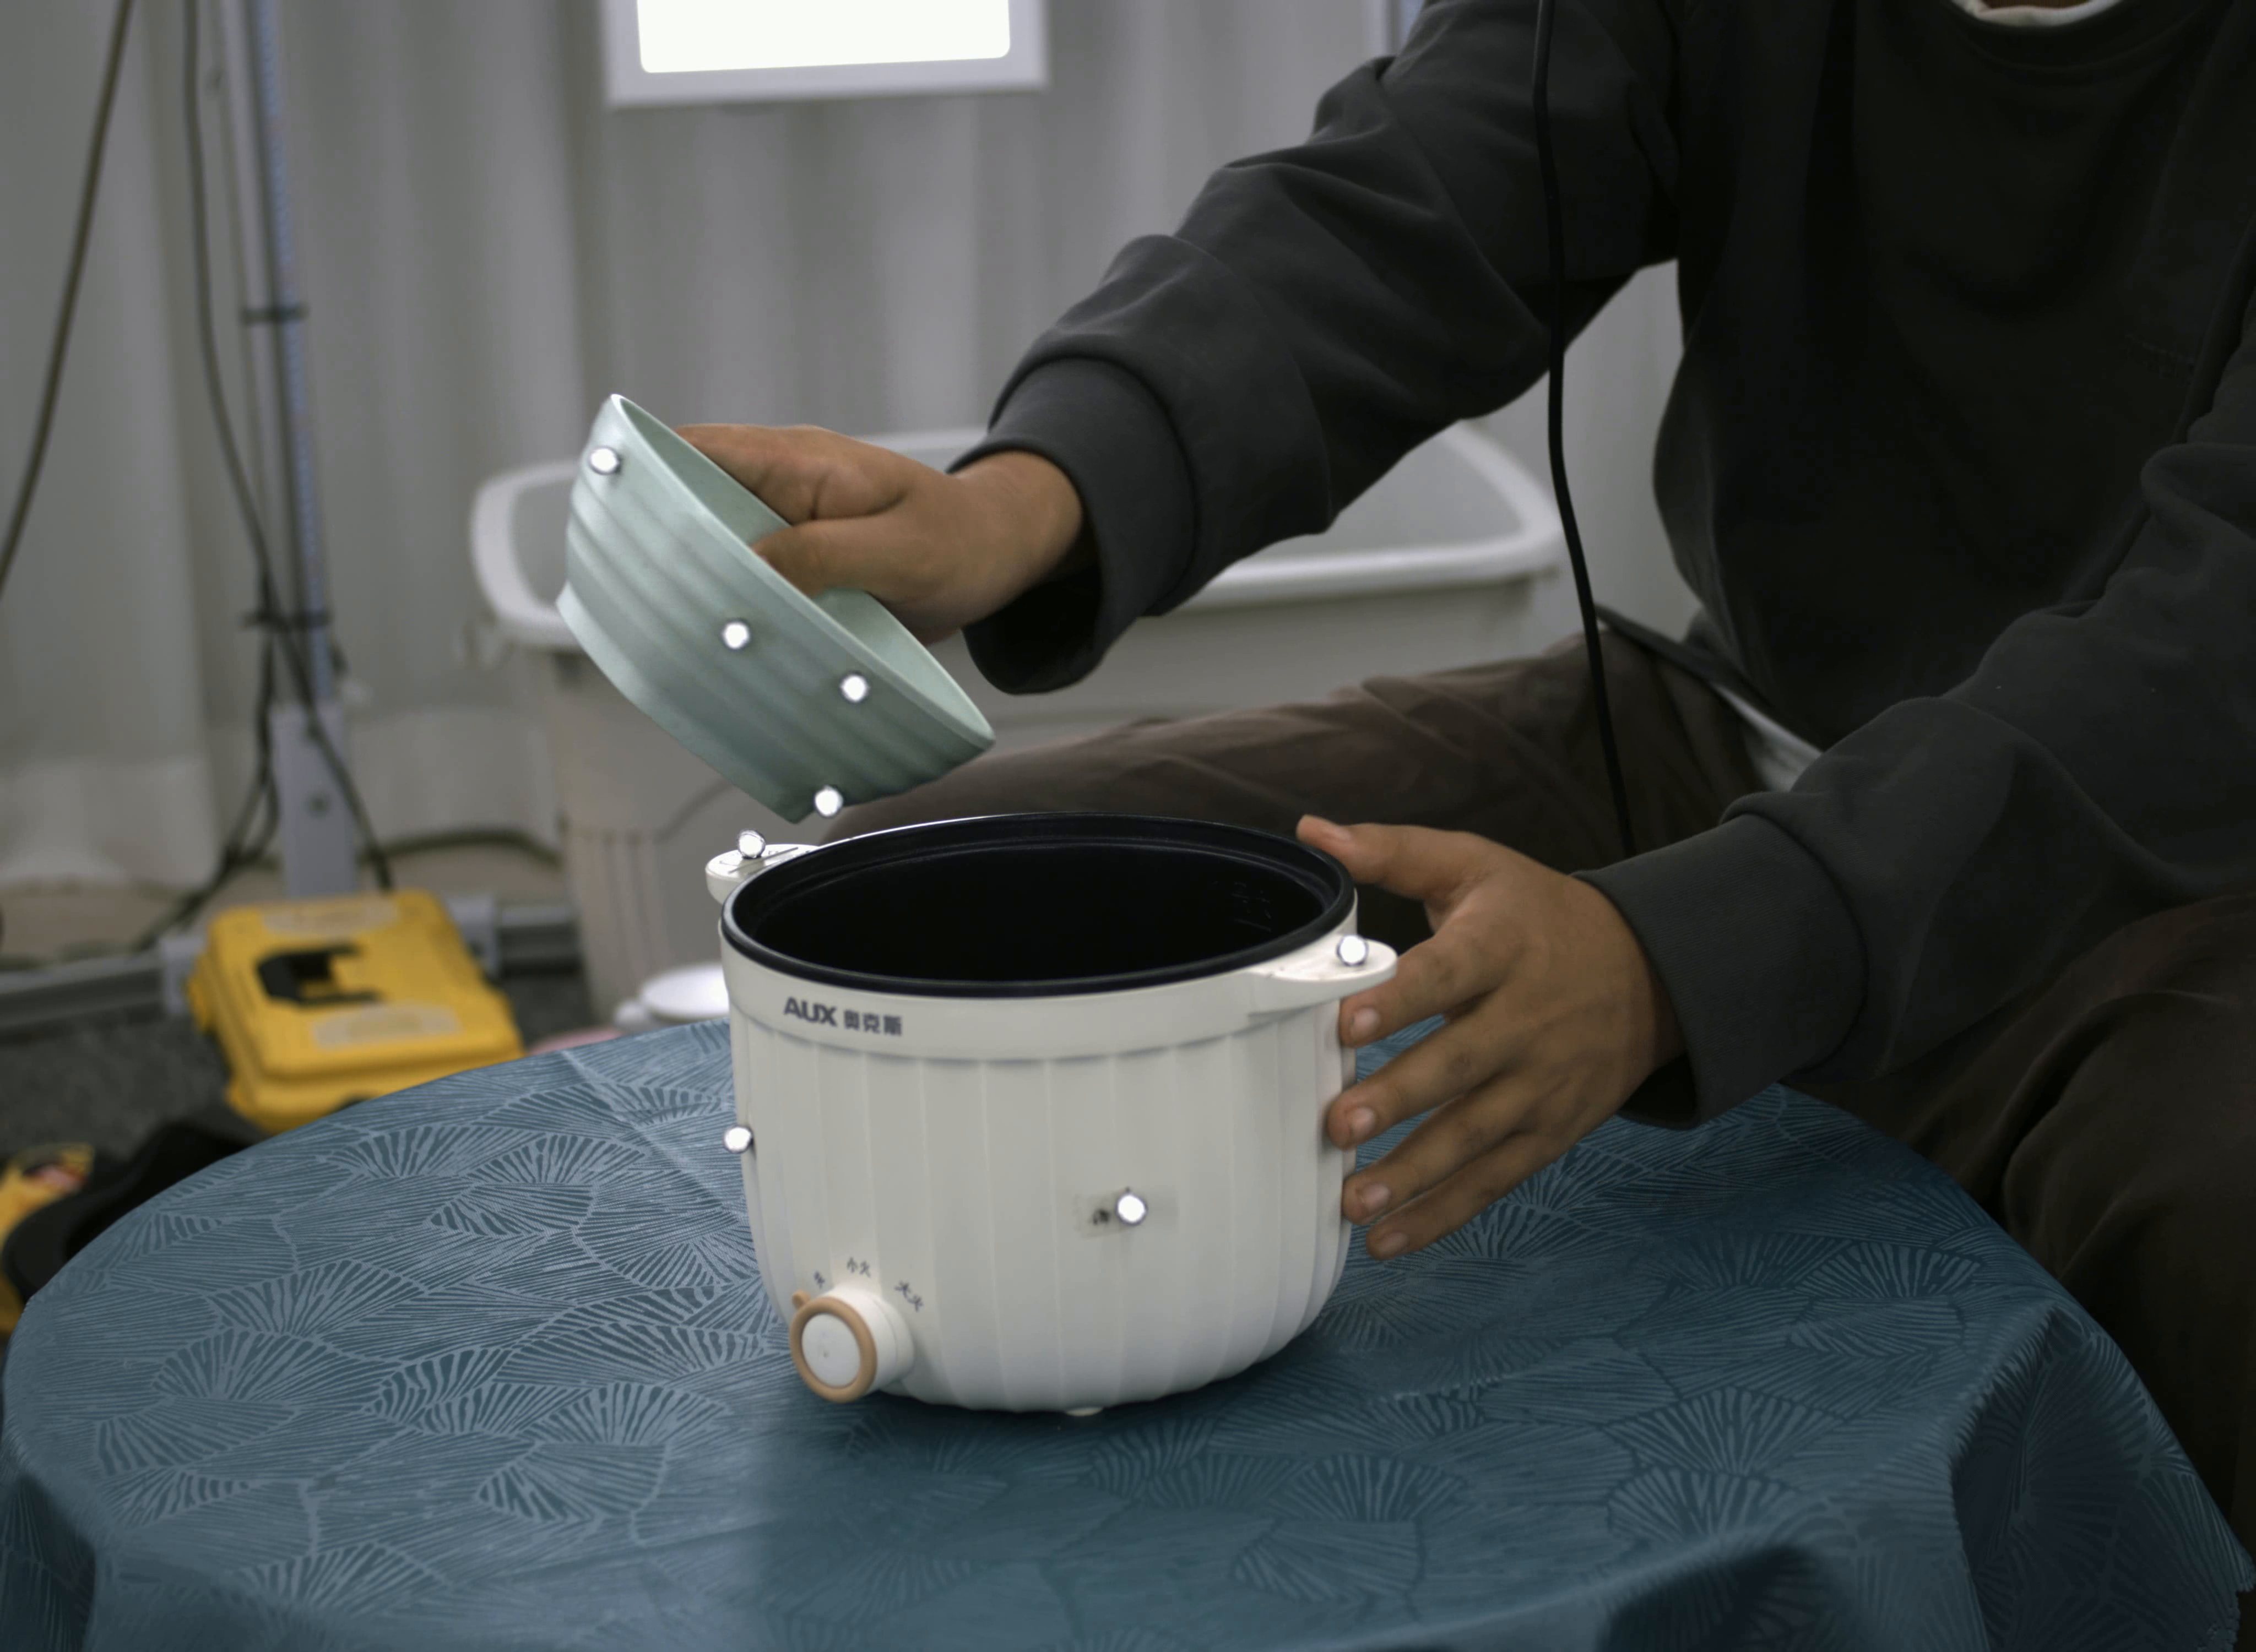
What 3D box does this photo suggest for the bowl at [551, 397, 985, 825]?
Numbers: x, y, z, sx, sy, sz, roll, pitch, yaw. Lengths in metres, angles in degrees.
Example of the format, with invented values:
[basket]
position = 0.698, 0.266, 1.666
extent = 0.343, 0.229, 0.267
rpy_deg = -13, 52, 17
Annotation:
[bowl]
position = -0.115, -0.054, 1.586
extent = 0.151, 0.058, 0.152
rpy_deg = 41, 6, -5

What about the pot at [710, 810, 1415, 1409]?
[pot]
position = -0.022, 0.084, 1.567
extent = 0.241, 0.142, 0.190
rpy_deg = 6, 13, 36
